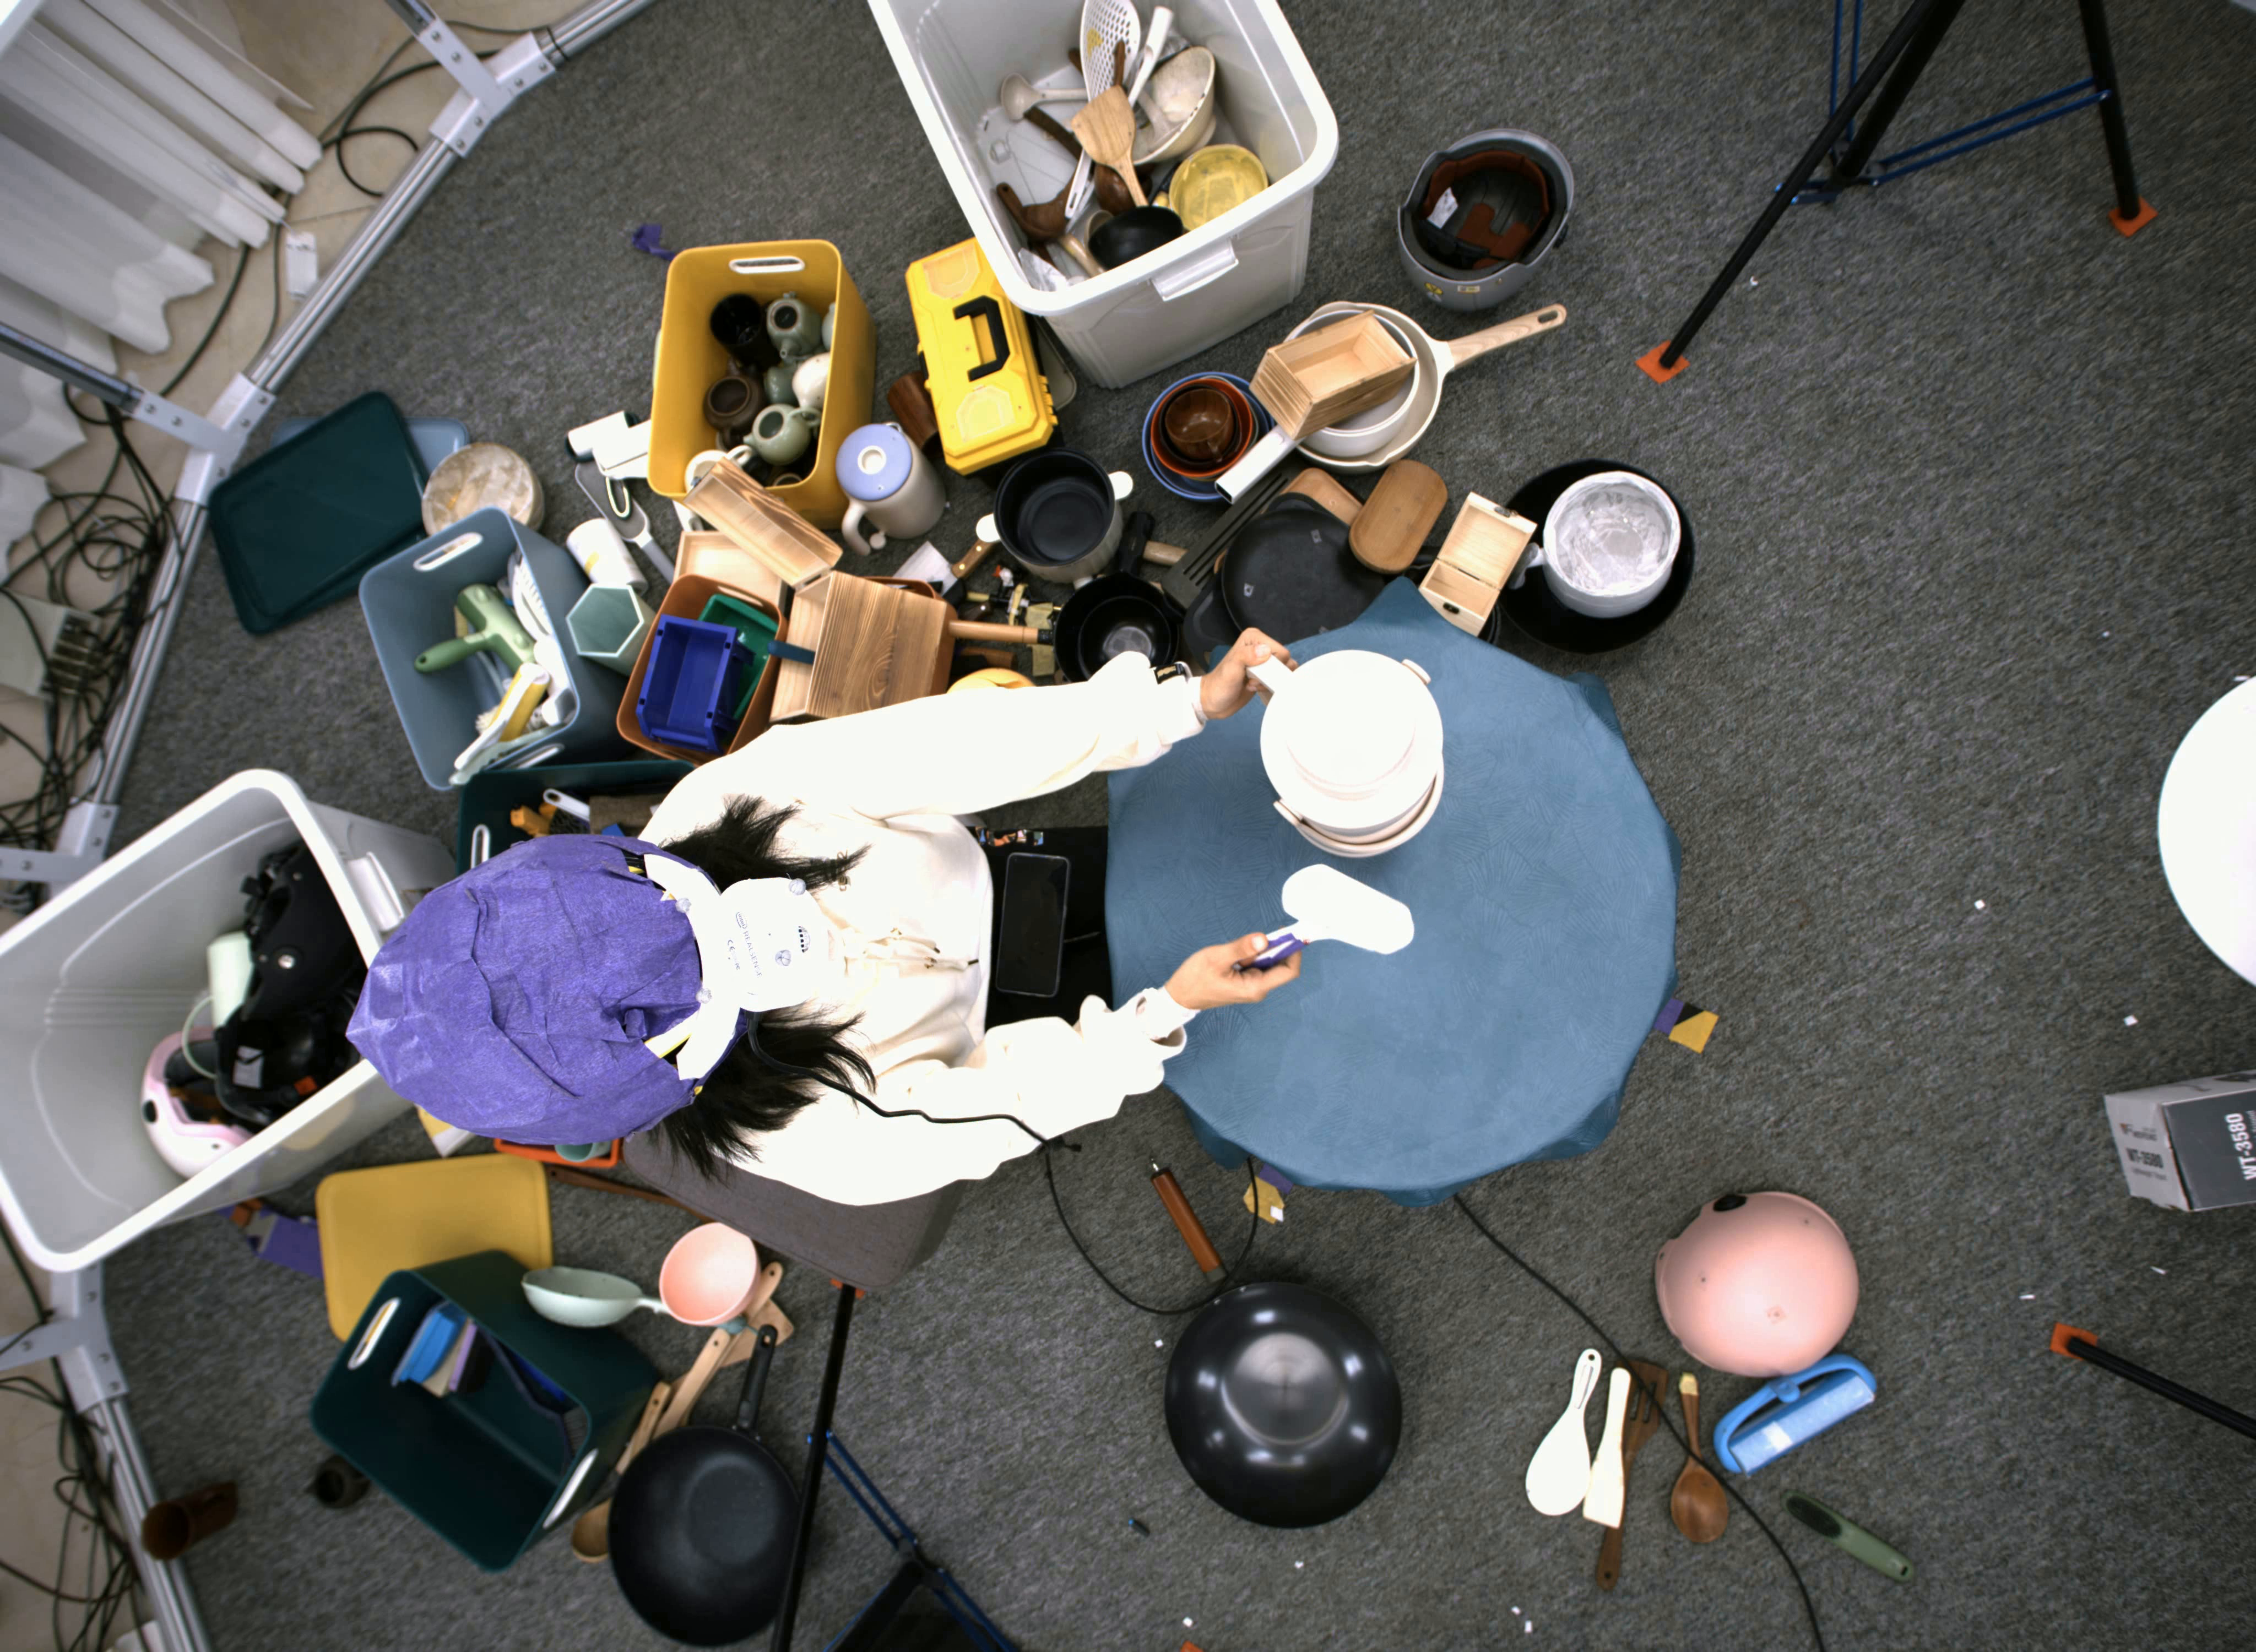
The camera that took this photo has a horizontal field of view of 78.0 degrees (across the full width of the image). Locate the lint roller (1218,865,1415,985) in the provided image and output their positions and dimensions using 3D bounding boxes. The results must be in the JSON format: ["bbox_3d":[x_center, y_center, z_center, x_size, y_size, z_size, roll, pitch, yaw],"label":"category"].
[{"bbox_3d":[0.145,0.105,1.194,0.184,0.133,0.049,-37,43,31],"label":"lint roller"}]

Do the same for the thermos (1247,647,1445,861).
[{"bbox_3d":[0.200,-0.075,1.280,0.206,0.407,0.176,42,93,12],"label":"thermos"}]
